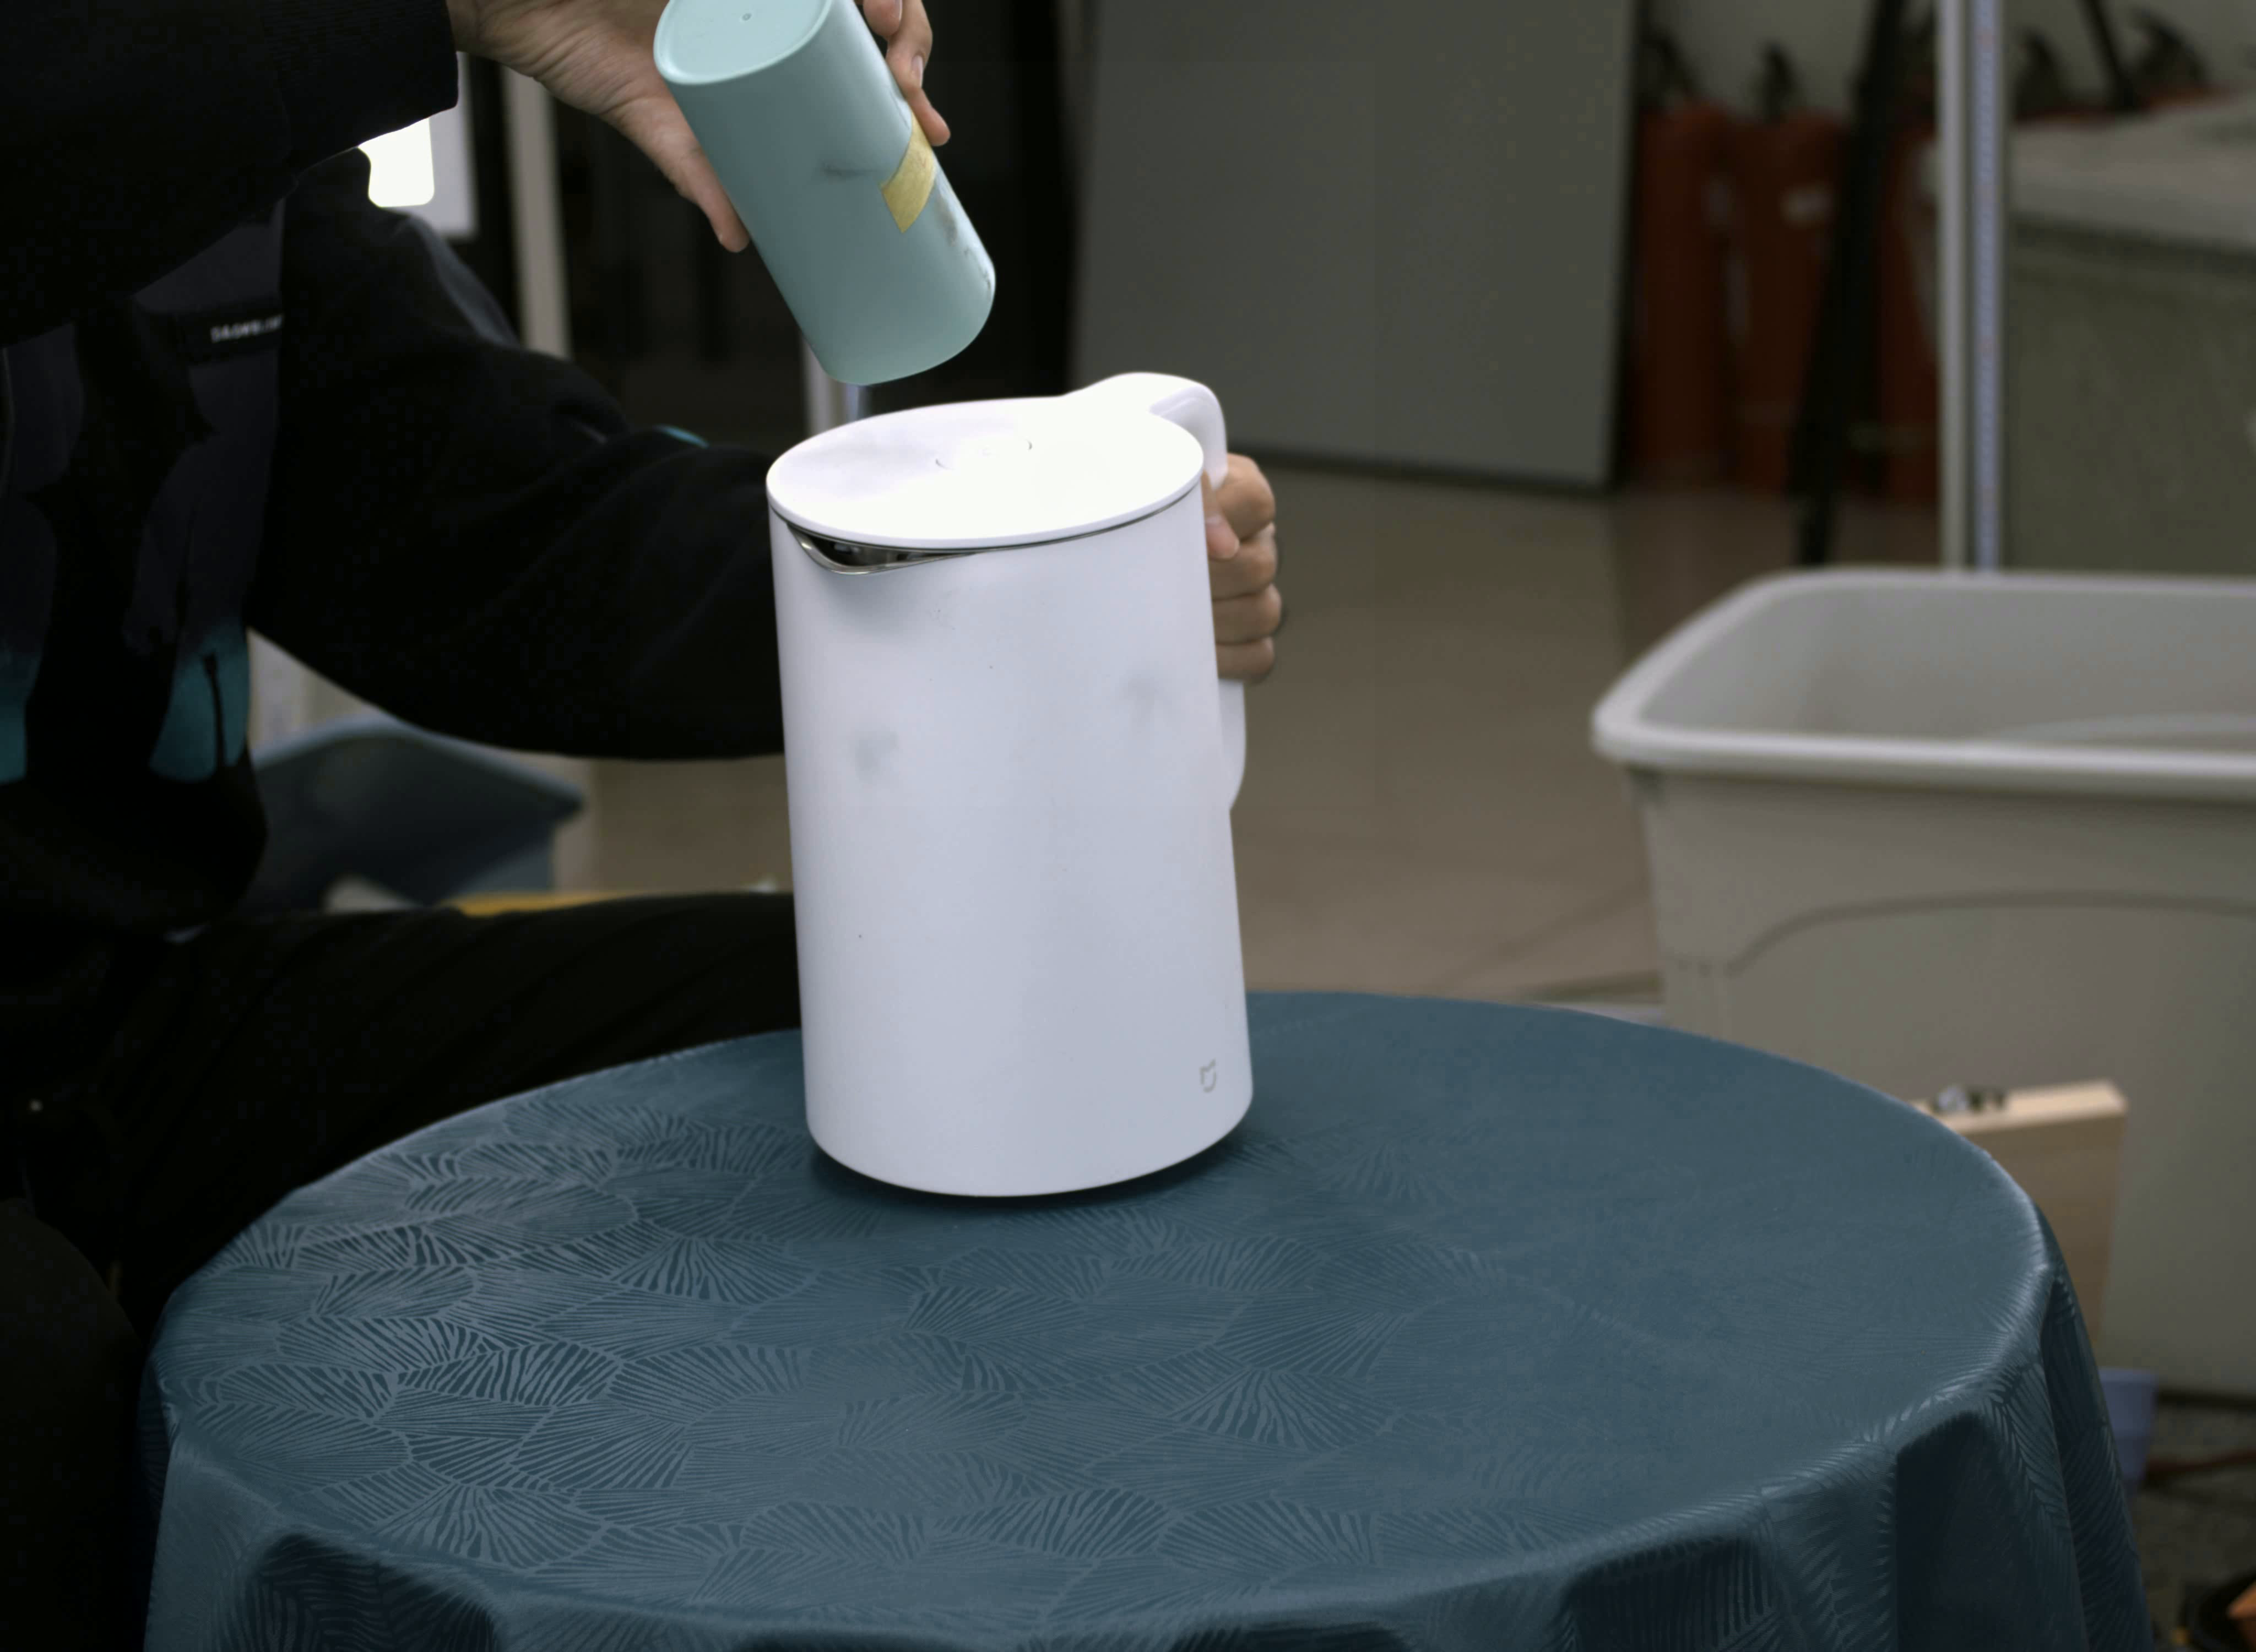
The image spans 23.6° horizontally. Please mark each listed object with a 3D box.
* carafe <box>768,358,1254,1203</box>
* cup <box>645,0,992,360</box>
[{"bbox_3d":[-0.024,-0.022,1.805,0.153,0.242,0.210,11,26,32],"label":"carafe"},{"bbox_3d":[-0.096,-0.214,1.685,0.066,0.131,0.067,-16,43,15],"label":"cup"}]
